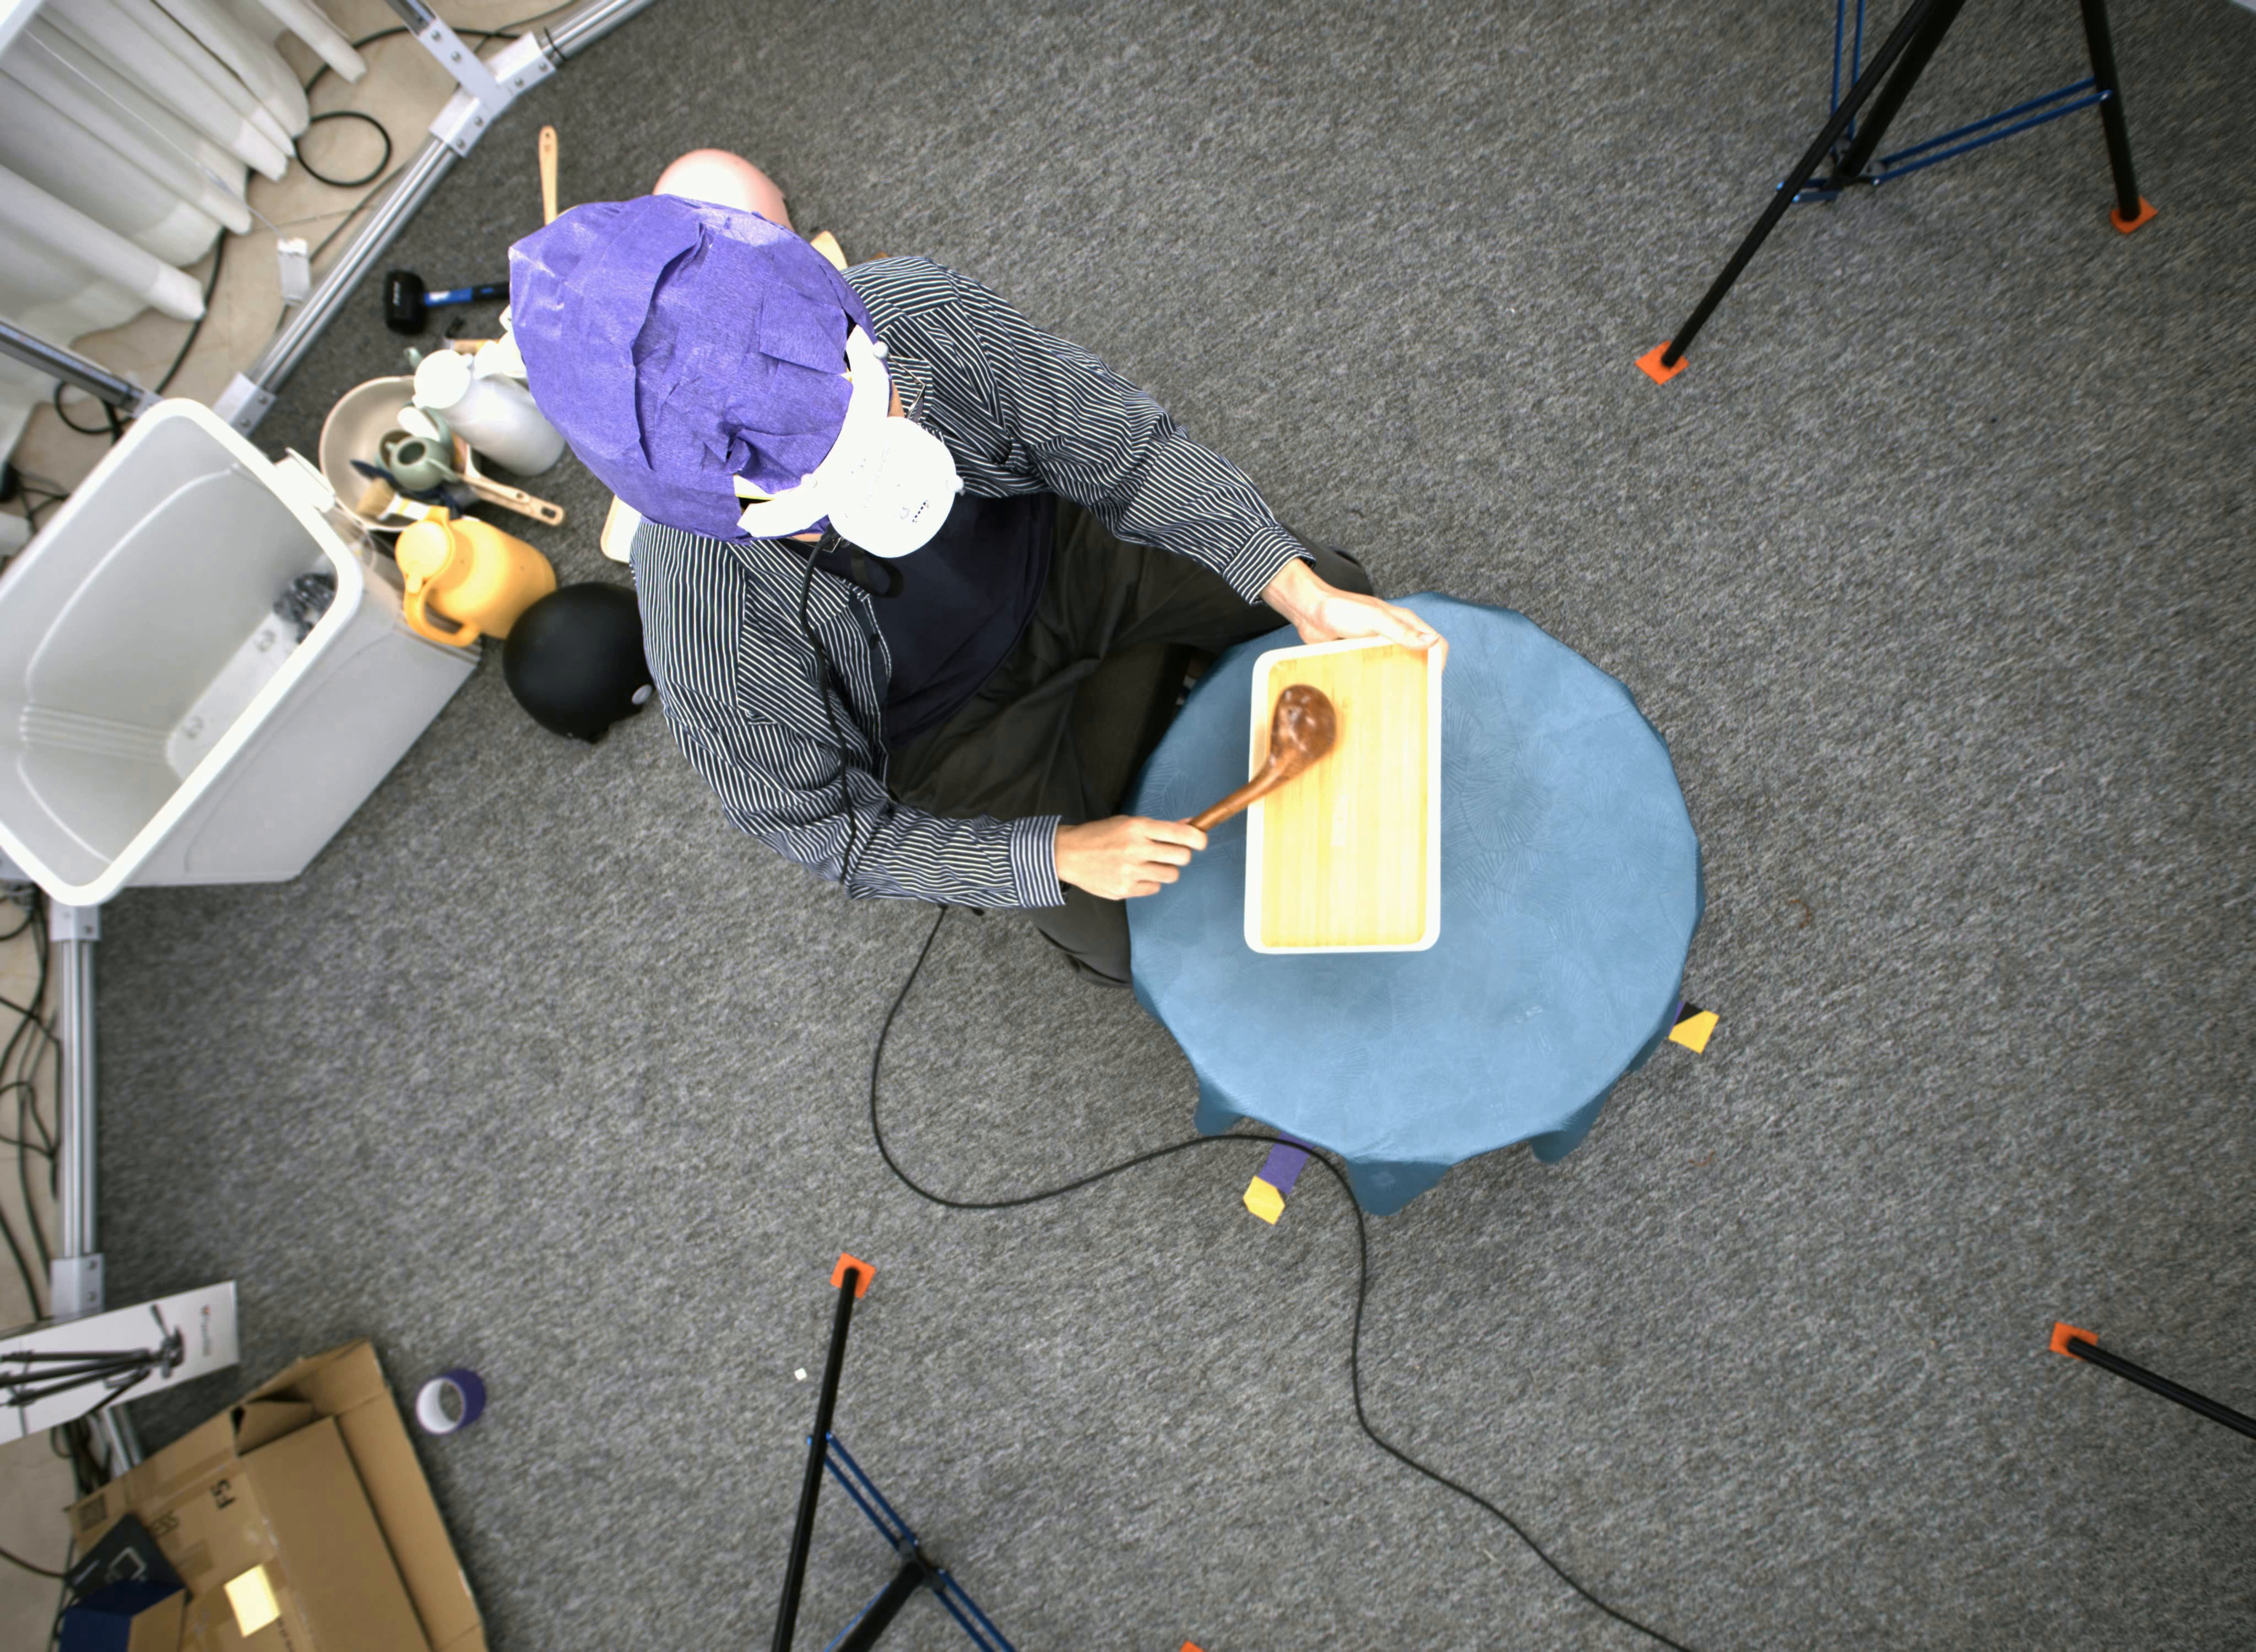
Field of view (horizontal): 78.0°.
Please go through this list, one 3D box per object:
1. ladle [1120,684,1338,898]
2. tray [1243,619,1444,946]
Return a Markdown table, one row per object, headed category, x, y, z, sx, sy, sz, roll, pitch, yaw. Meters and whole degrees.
| category | x | y | z | sx | sy | sz | roll | pitch | yaw |
| --- | --- | --- | --- | --- | --- | --- | --- | --- | --- |
| ladle | 0.088 | -0.035 | 1.331 | 0.279 | 0.082 | 0.075 | -37 | 43 | 27 |
| tray | 0.201 | -0.039 | 1.292 | 0.193 | 0.027 | 0.298 | -2 | 81 | 35 |
